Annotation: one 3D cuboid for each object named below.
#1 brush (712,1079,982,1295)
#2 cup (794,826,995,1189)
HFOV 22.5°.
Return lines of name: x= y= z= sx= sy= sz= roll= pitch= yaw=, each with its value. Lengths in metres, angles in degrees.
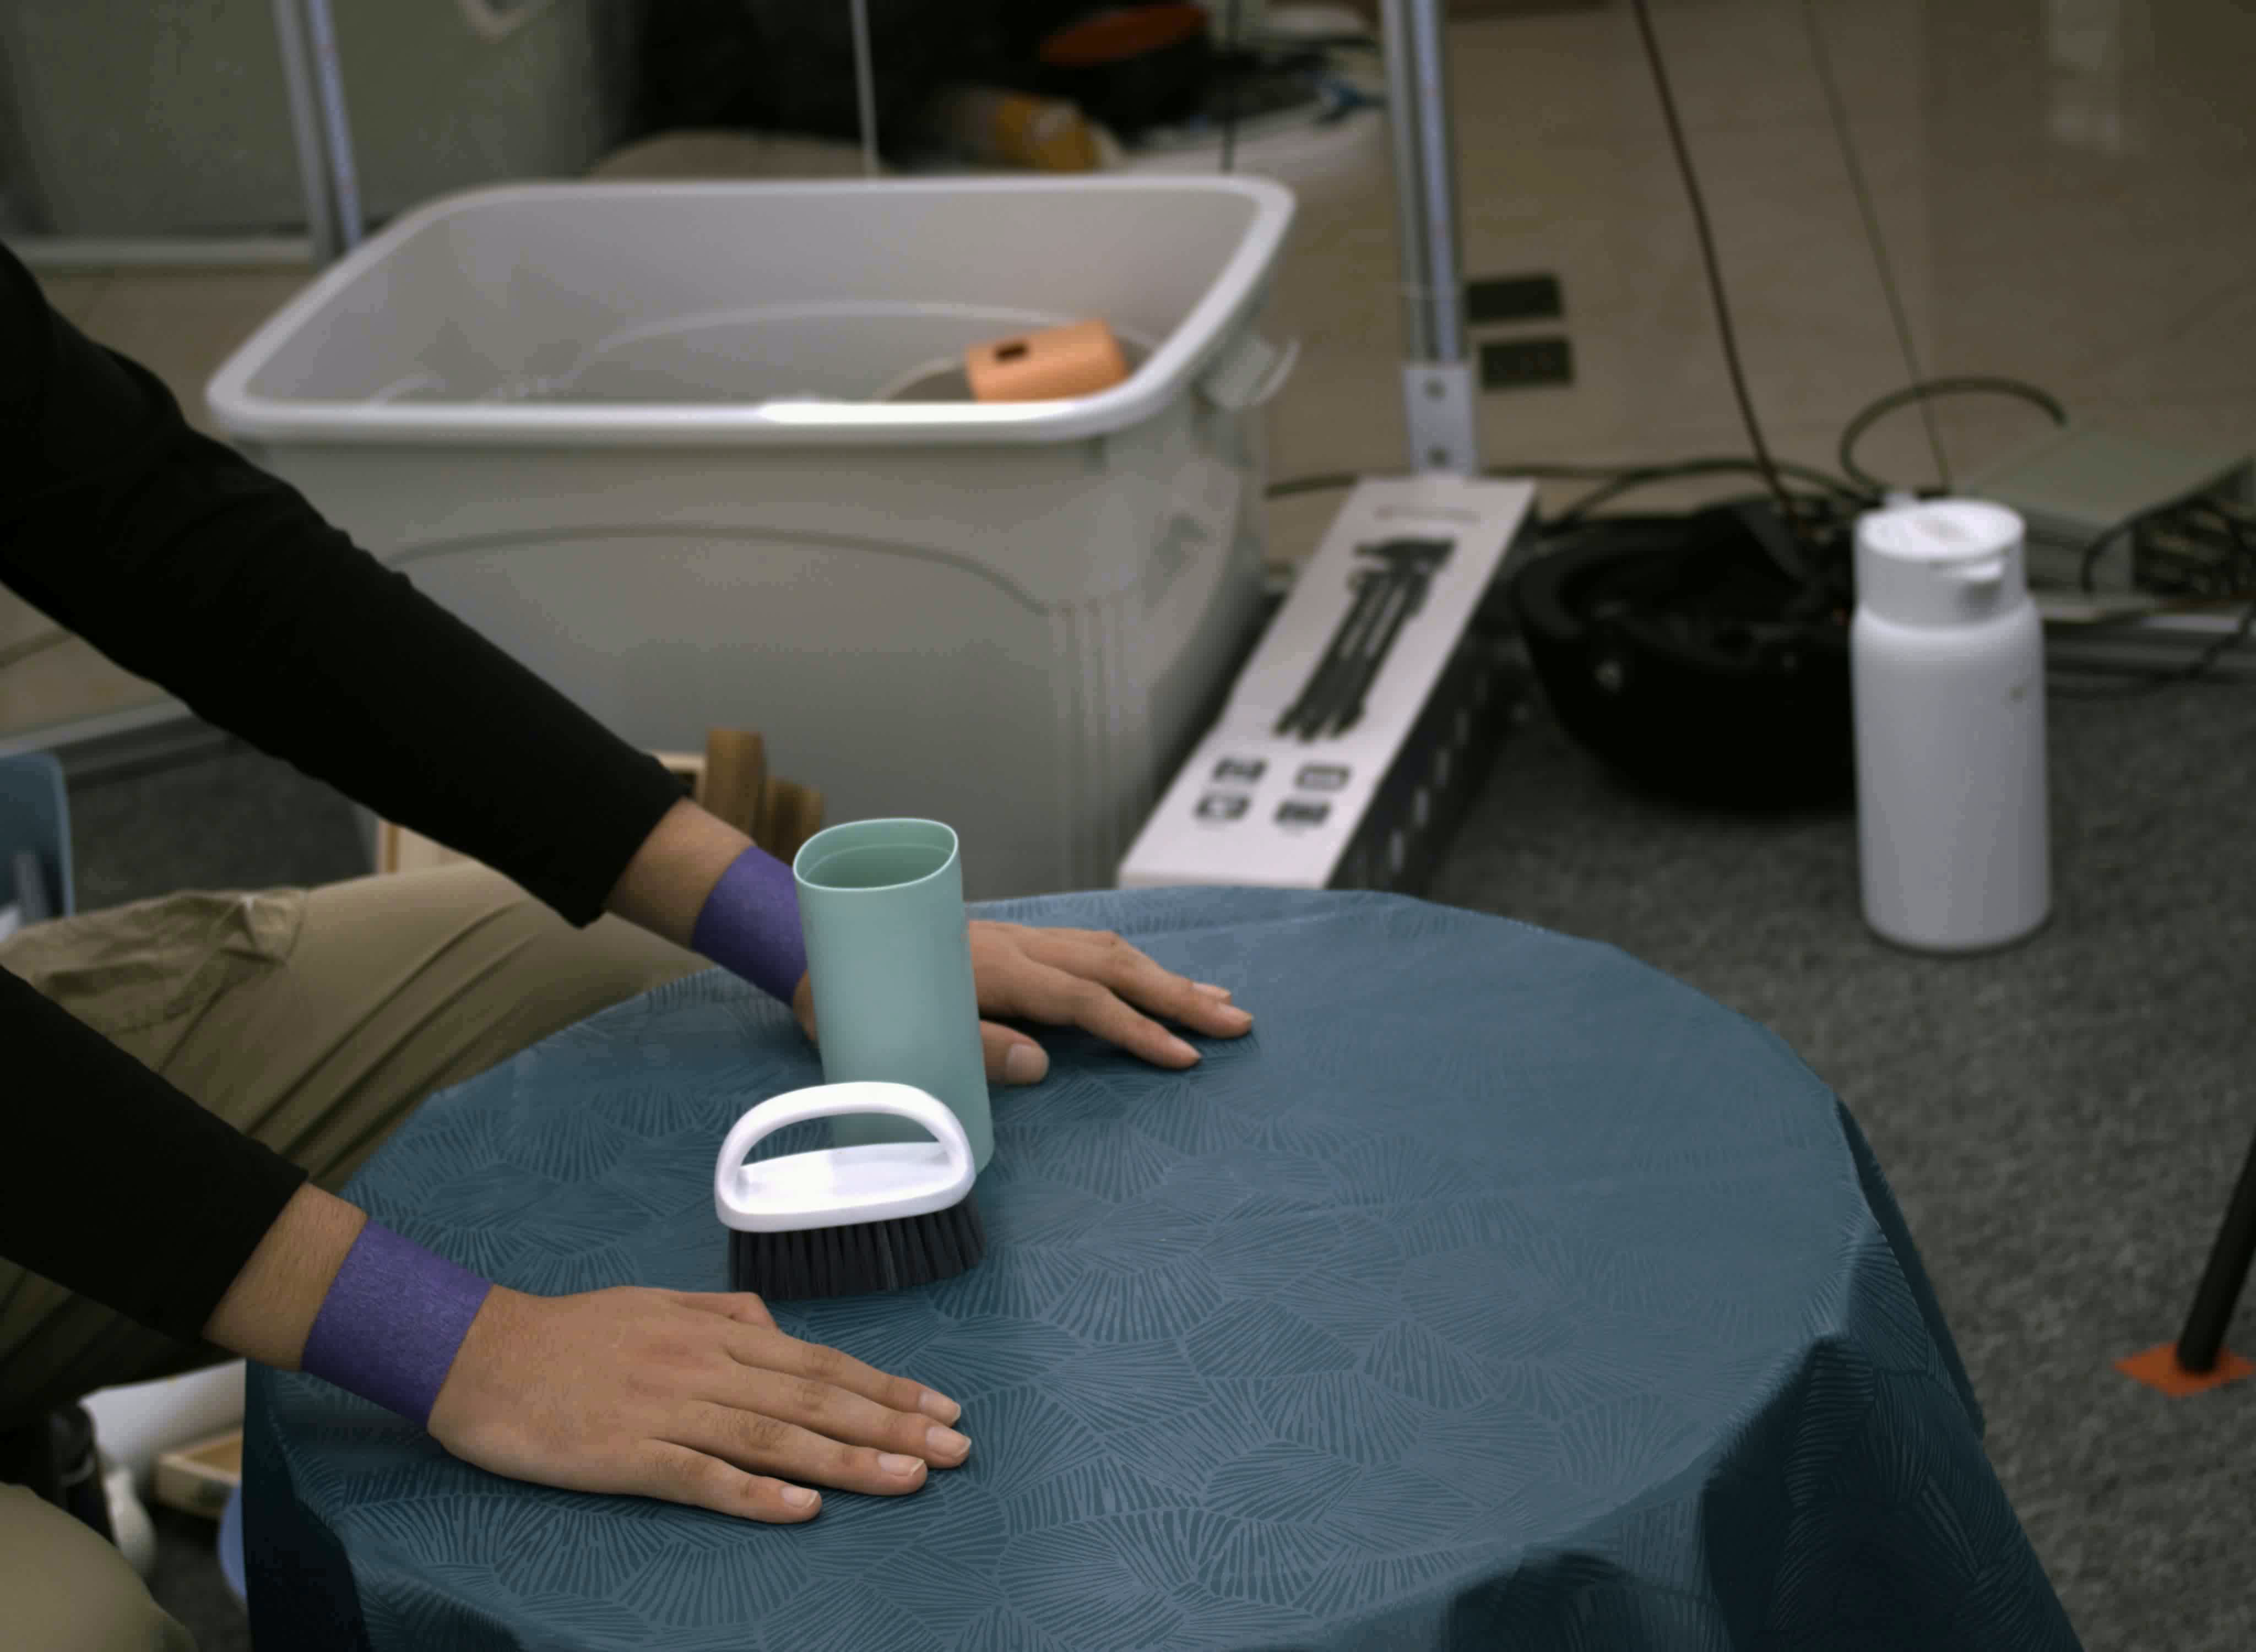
brush: x=-0.106 y=0.129 z=2.102 sx=0.099 sy=0.073 sz=0.049 roll=-5 pitch=24 yaw=0
cup: x=-0.089 y=0.072 z=2.164 sx=0.066 sy=0.134 sz=0.066 roll=-5 pitch=26 yaw=2
